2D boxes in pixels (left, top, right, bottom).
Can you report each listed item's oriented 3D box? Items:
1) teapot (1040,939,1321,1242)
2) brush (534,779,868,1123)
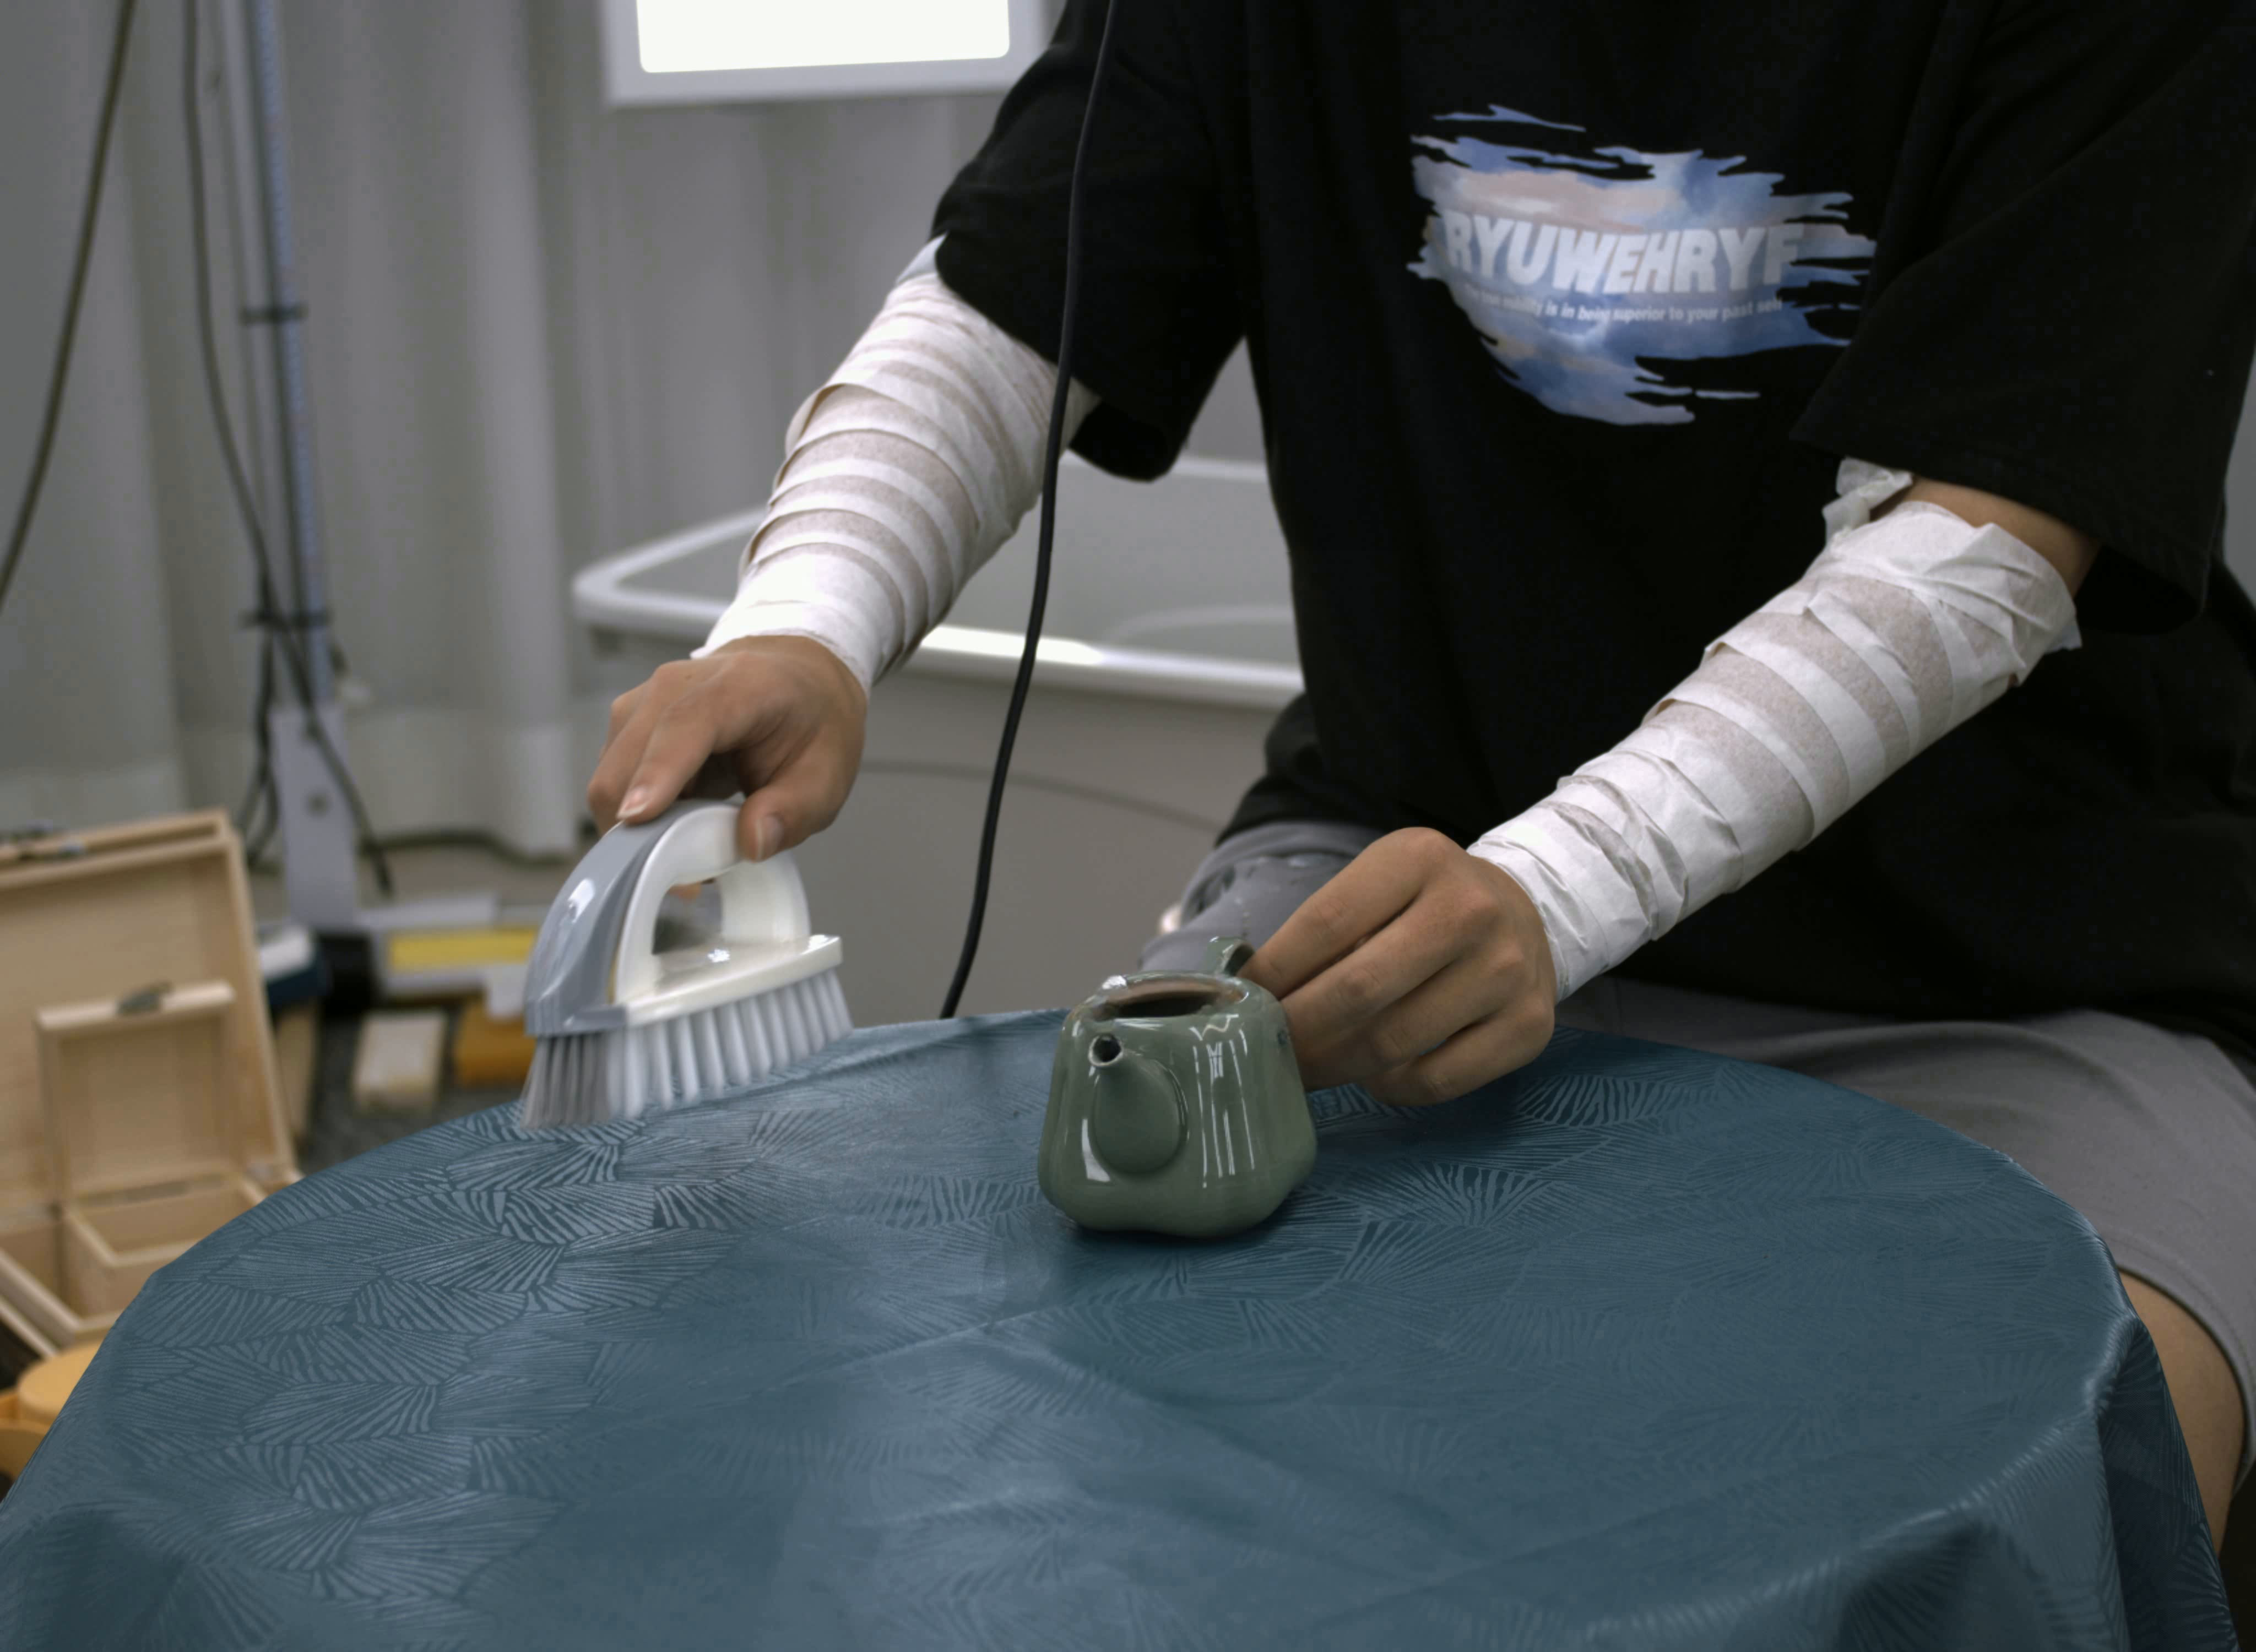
[{"bbox_3d":[0.017,0.084,1.686,0.080,0.075,0.133,6,15,23],"label":"teapot"},{"bbox_3d":[-0.143,0.036,1.714,0.061,0.094,0.175,-7,6,23],"label":"brush"}]
